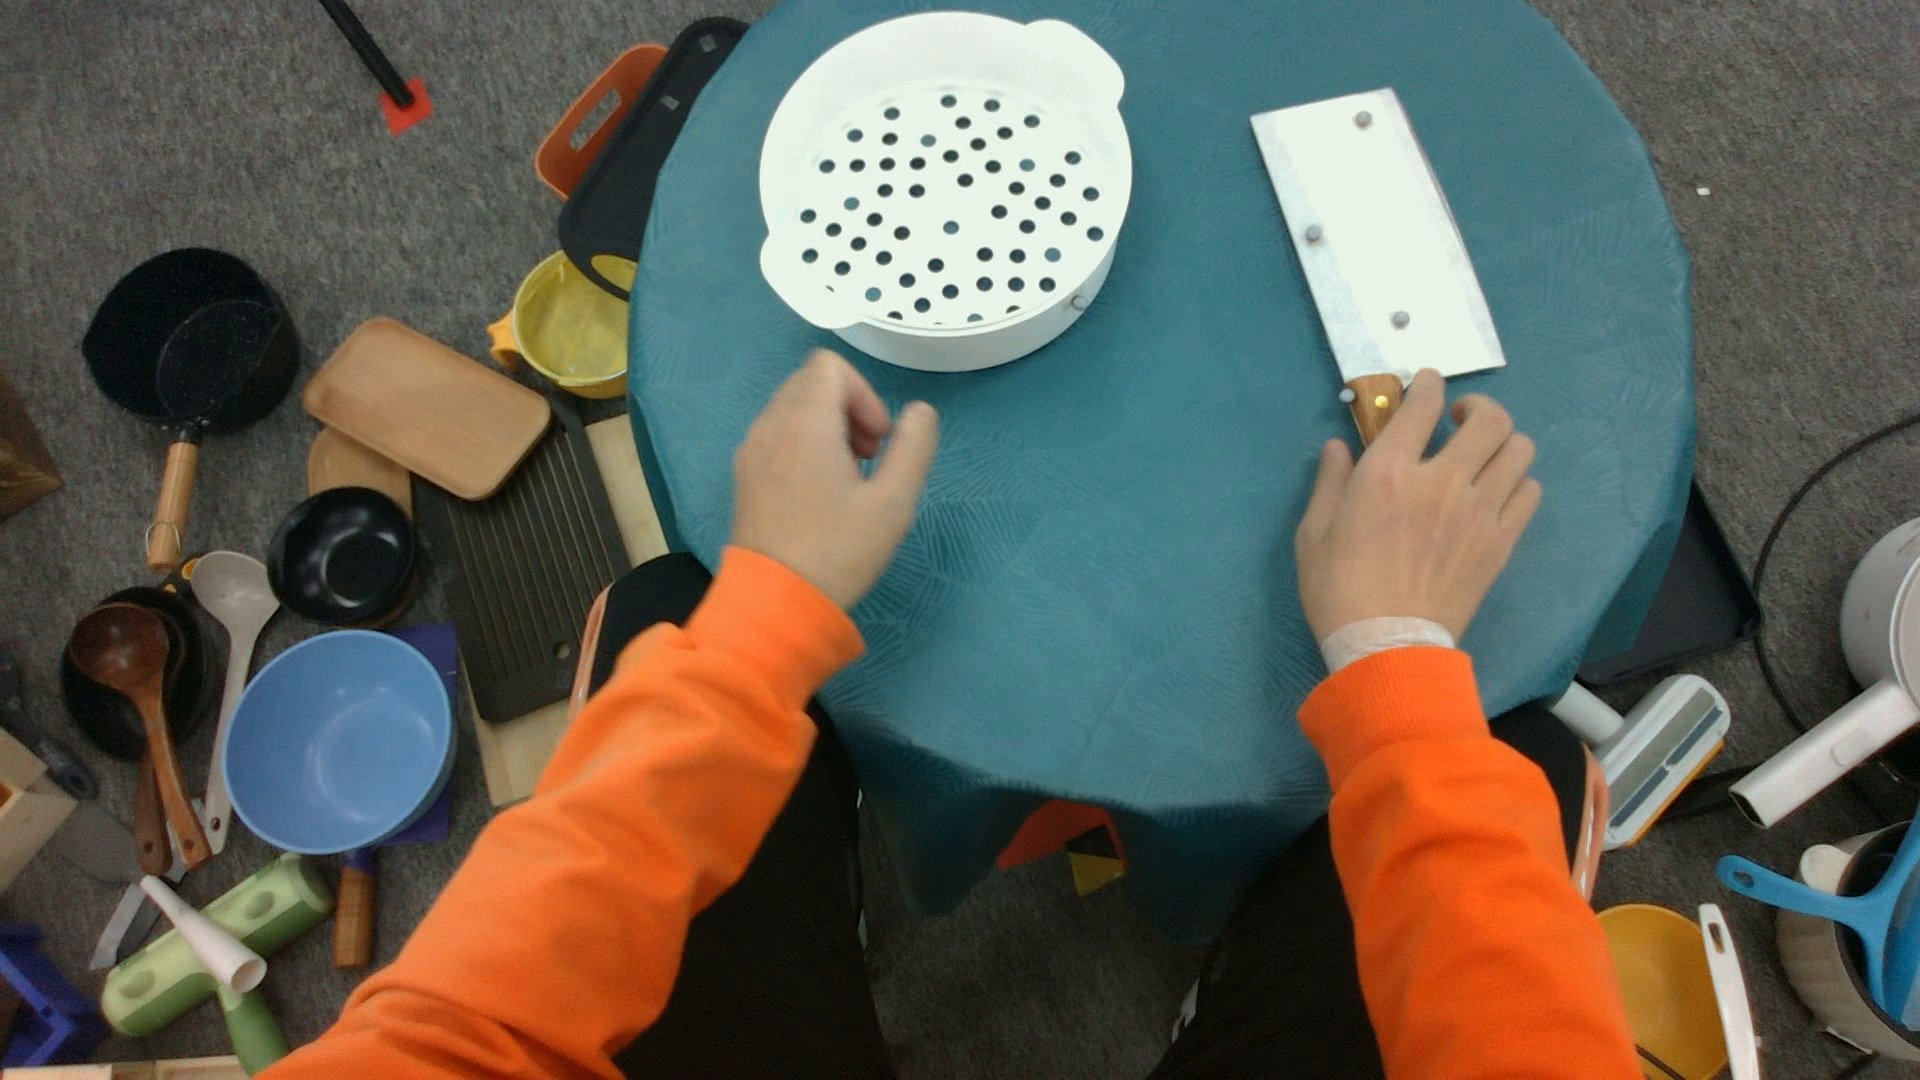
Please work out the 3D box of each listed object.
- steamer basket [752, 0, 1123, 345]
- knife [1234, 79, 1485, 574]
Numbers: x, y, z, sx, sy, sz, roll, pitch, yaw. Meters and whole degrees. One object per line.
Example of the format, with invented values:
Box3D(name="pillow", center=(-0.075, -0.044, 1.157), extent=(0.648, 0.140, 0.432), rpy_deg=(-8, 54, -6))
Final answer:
Box3D(name="steamer basket", center=(-0.012, -0.205, 0.770), extent=(0.231, 0.069, 0.202), rpy_deg=(-42, 76, -13))
Box3D(name="knife", center=(0.237, -0.131, 0.767), extent=(0.093, 0.021, 0.306), rpy_deg=(-12, 70, -5))
